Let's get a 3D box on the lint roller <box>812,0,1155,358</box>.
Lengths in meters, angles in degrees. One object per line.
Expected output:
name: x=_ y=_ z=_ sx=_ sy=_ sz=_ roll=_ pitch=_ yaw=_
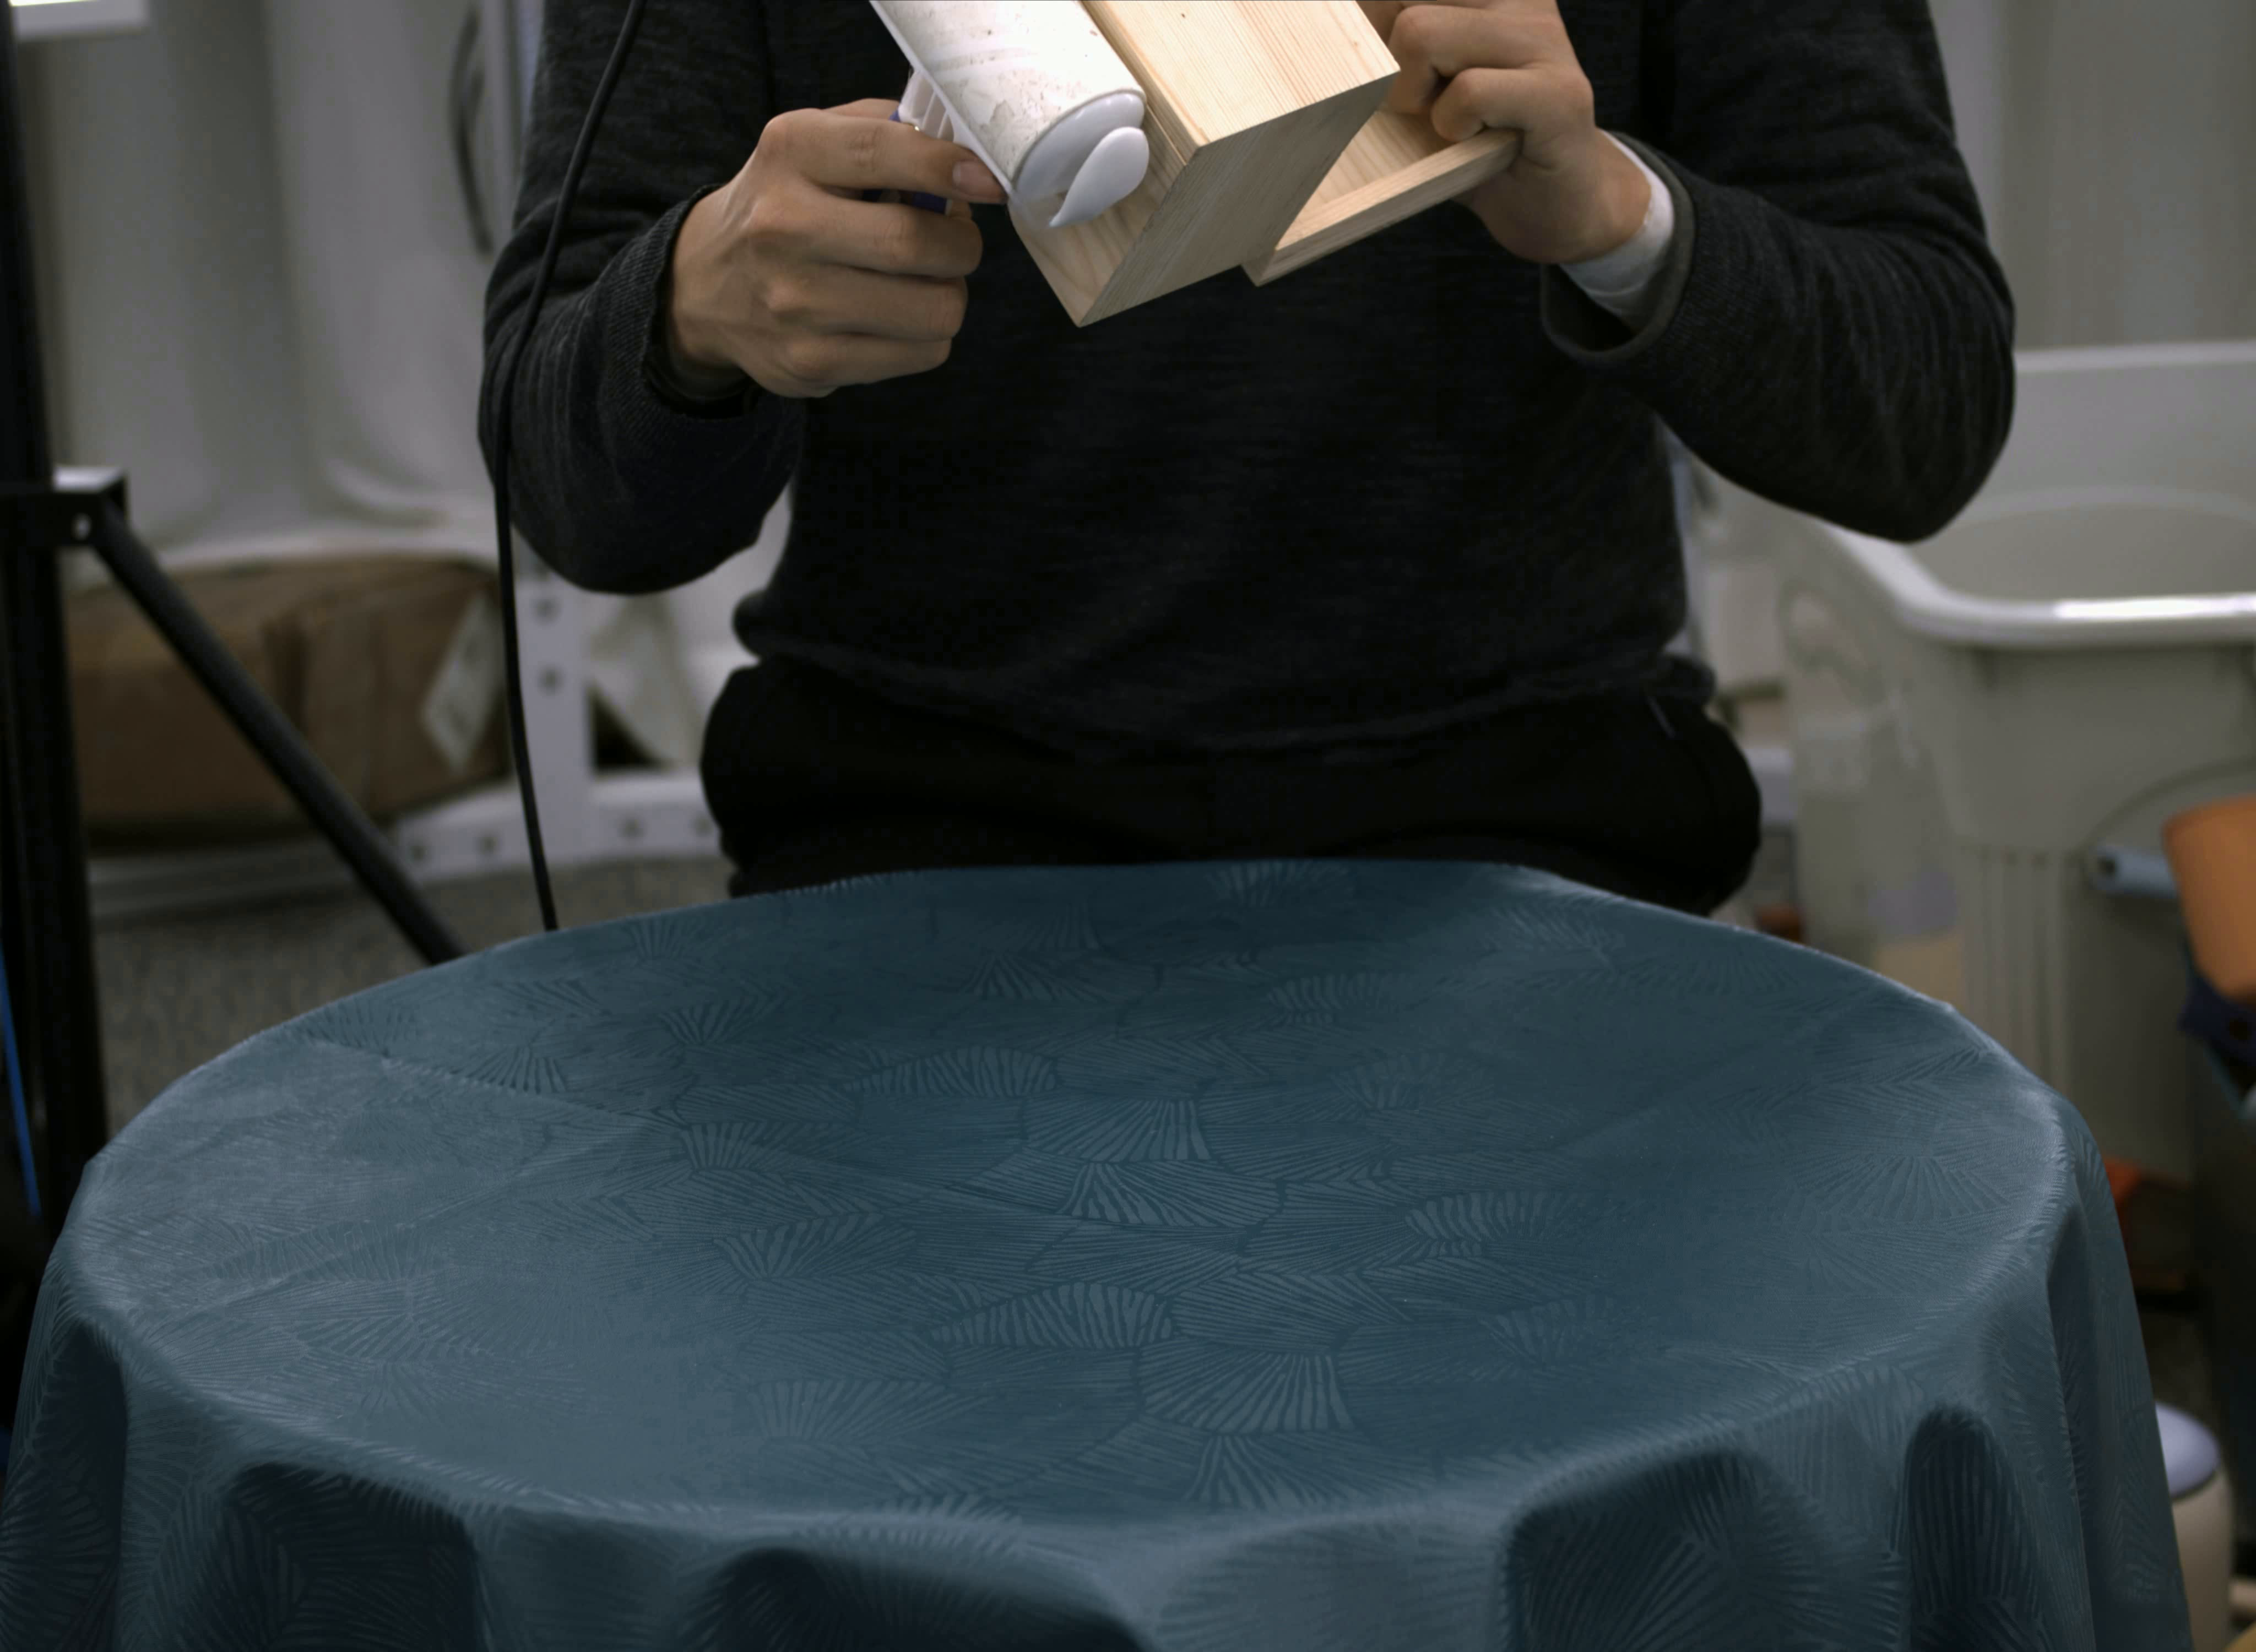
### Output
lint roller: x=-0.067 y=-0.197 z=1.574 sx=0.049 sy=0.134 sz=0.182 roll=-19 pitch=-22 yaw=-40

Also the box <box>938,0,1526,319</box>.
box: x=0.045 y=-0.240 z=1.610 sx=0.181 sy=0.104 sz=0.135 roll=-24 pitch=-16 yaw=-31
